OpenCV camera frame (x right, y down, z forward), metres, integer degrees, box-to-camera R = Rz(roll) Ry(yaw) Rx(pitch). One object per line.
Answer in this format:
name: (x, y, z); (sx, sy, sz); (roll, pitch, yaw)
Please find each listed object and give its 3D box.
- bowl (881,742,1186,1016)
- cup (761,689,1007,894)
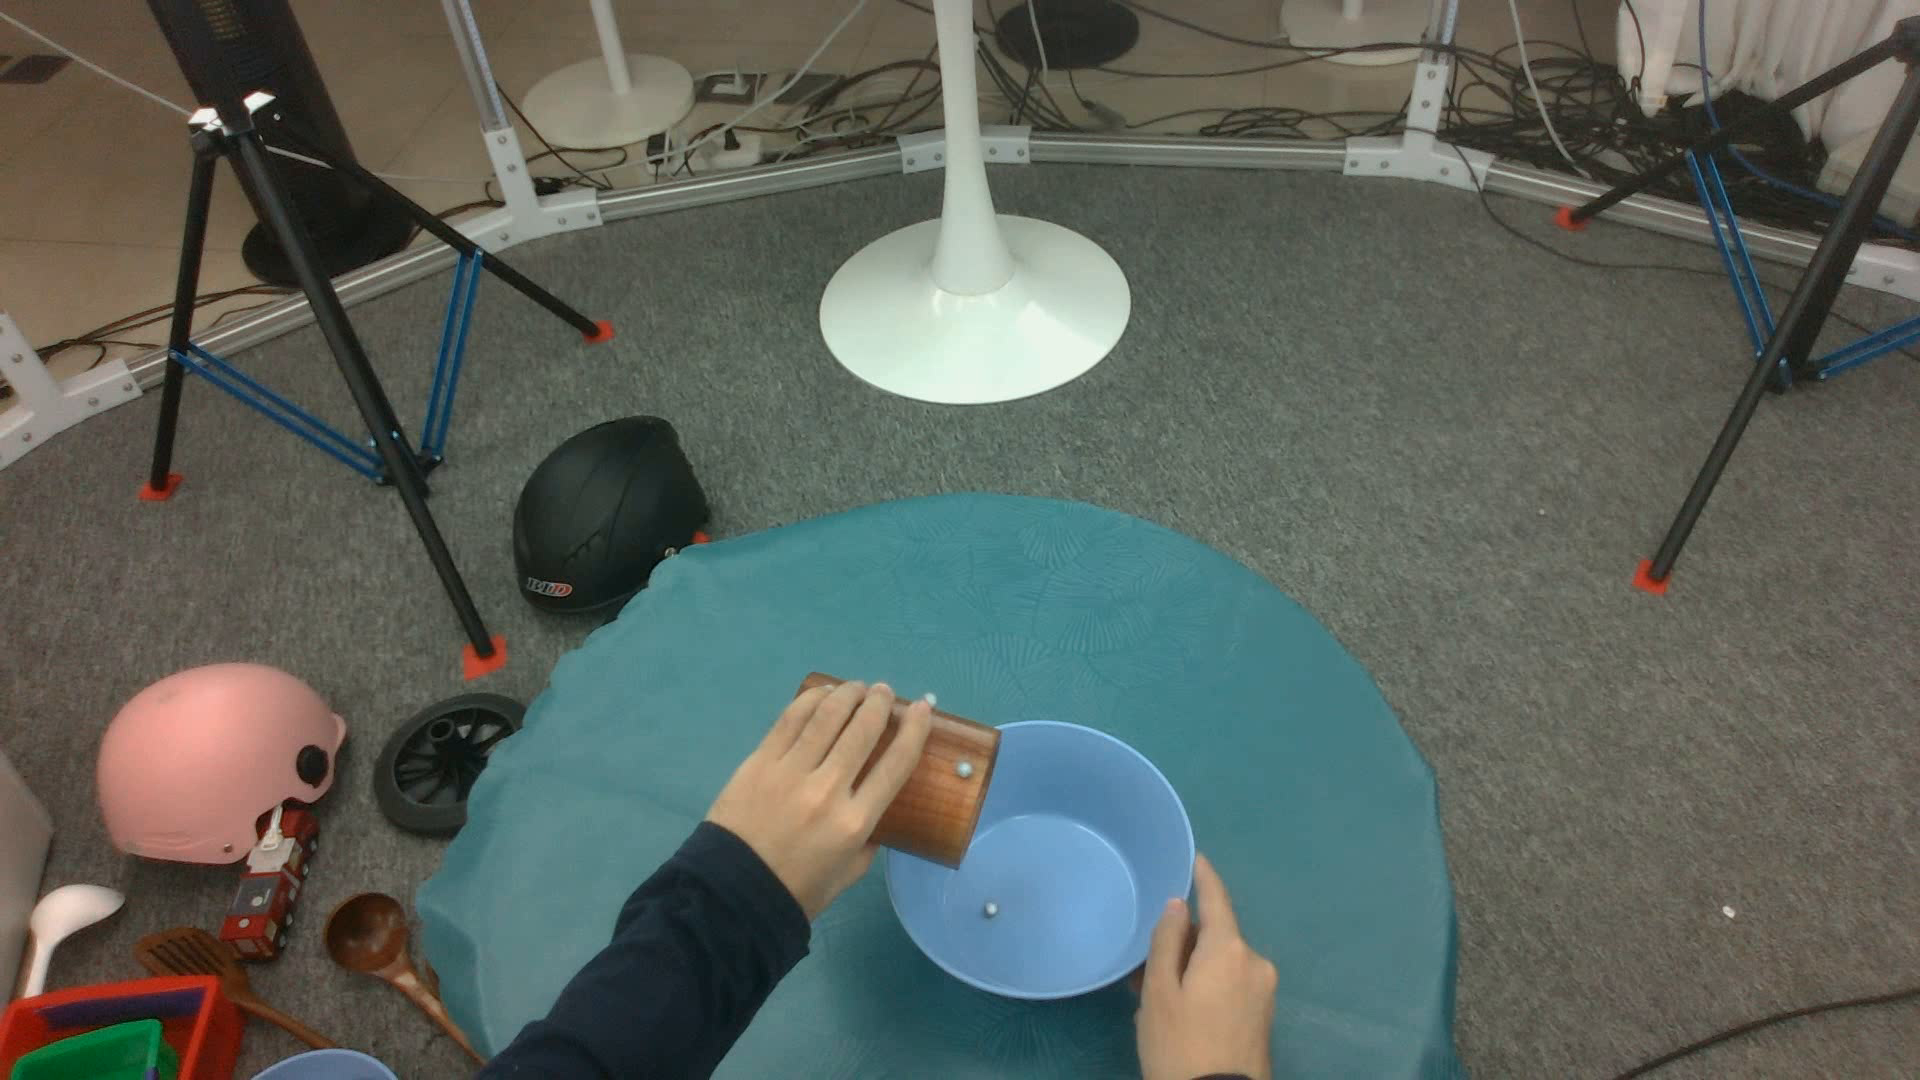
bowl: (0.044, 0.210, 0.813); (0.176, 0.070, 0.177); (-3, 46, 3)
cup: (-0.041, 0.140, 0.773); (0.118, 0.087, 0.088); (19, 49, 10)
